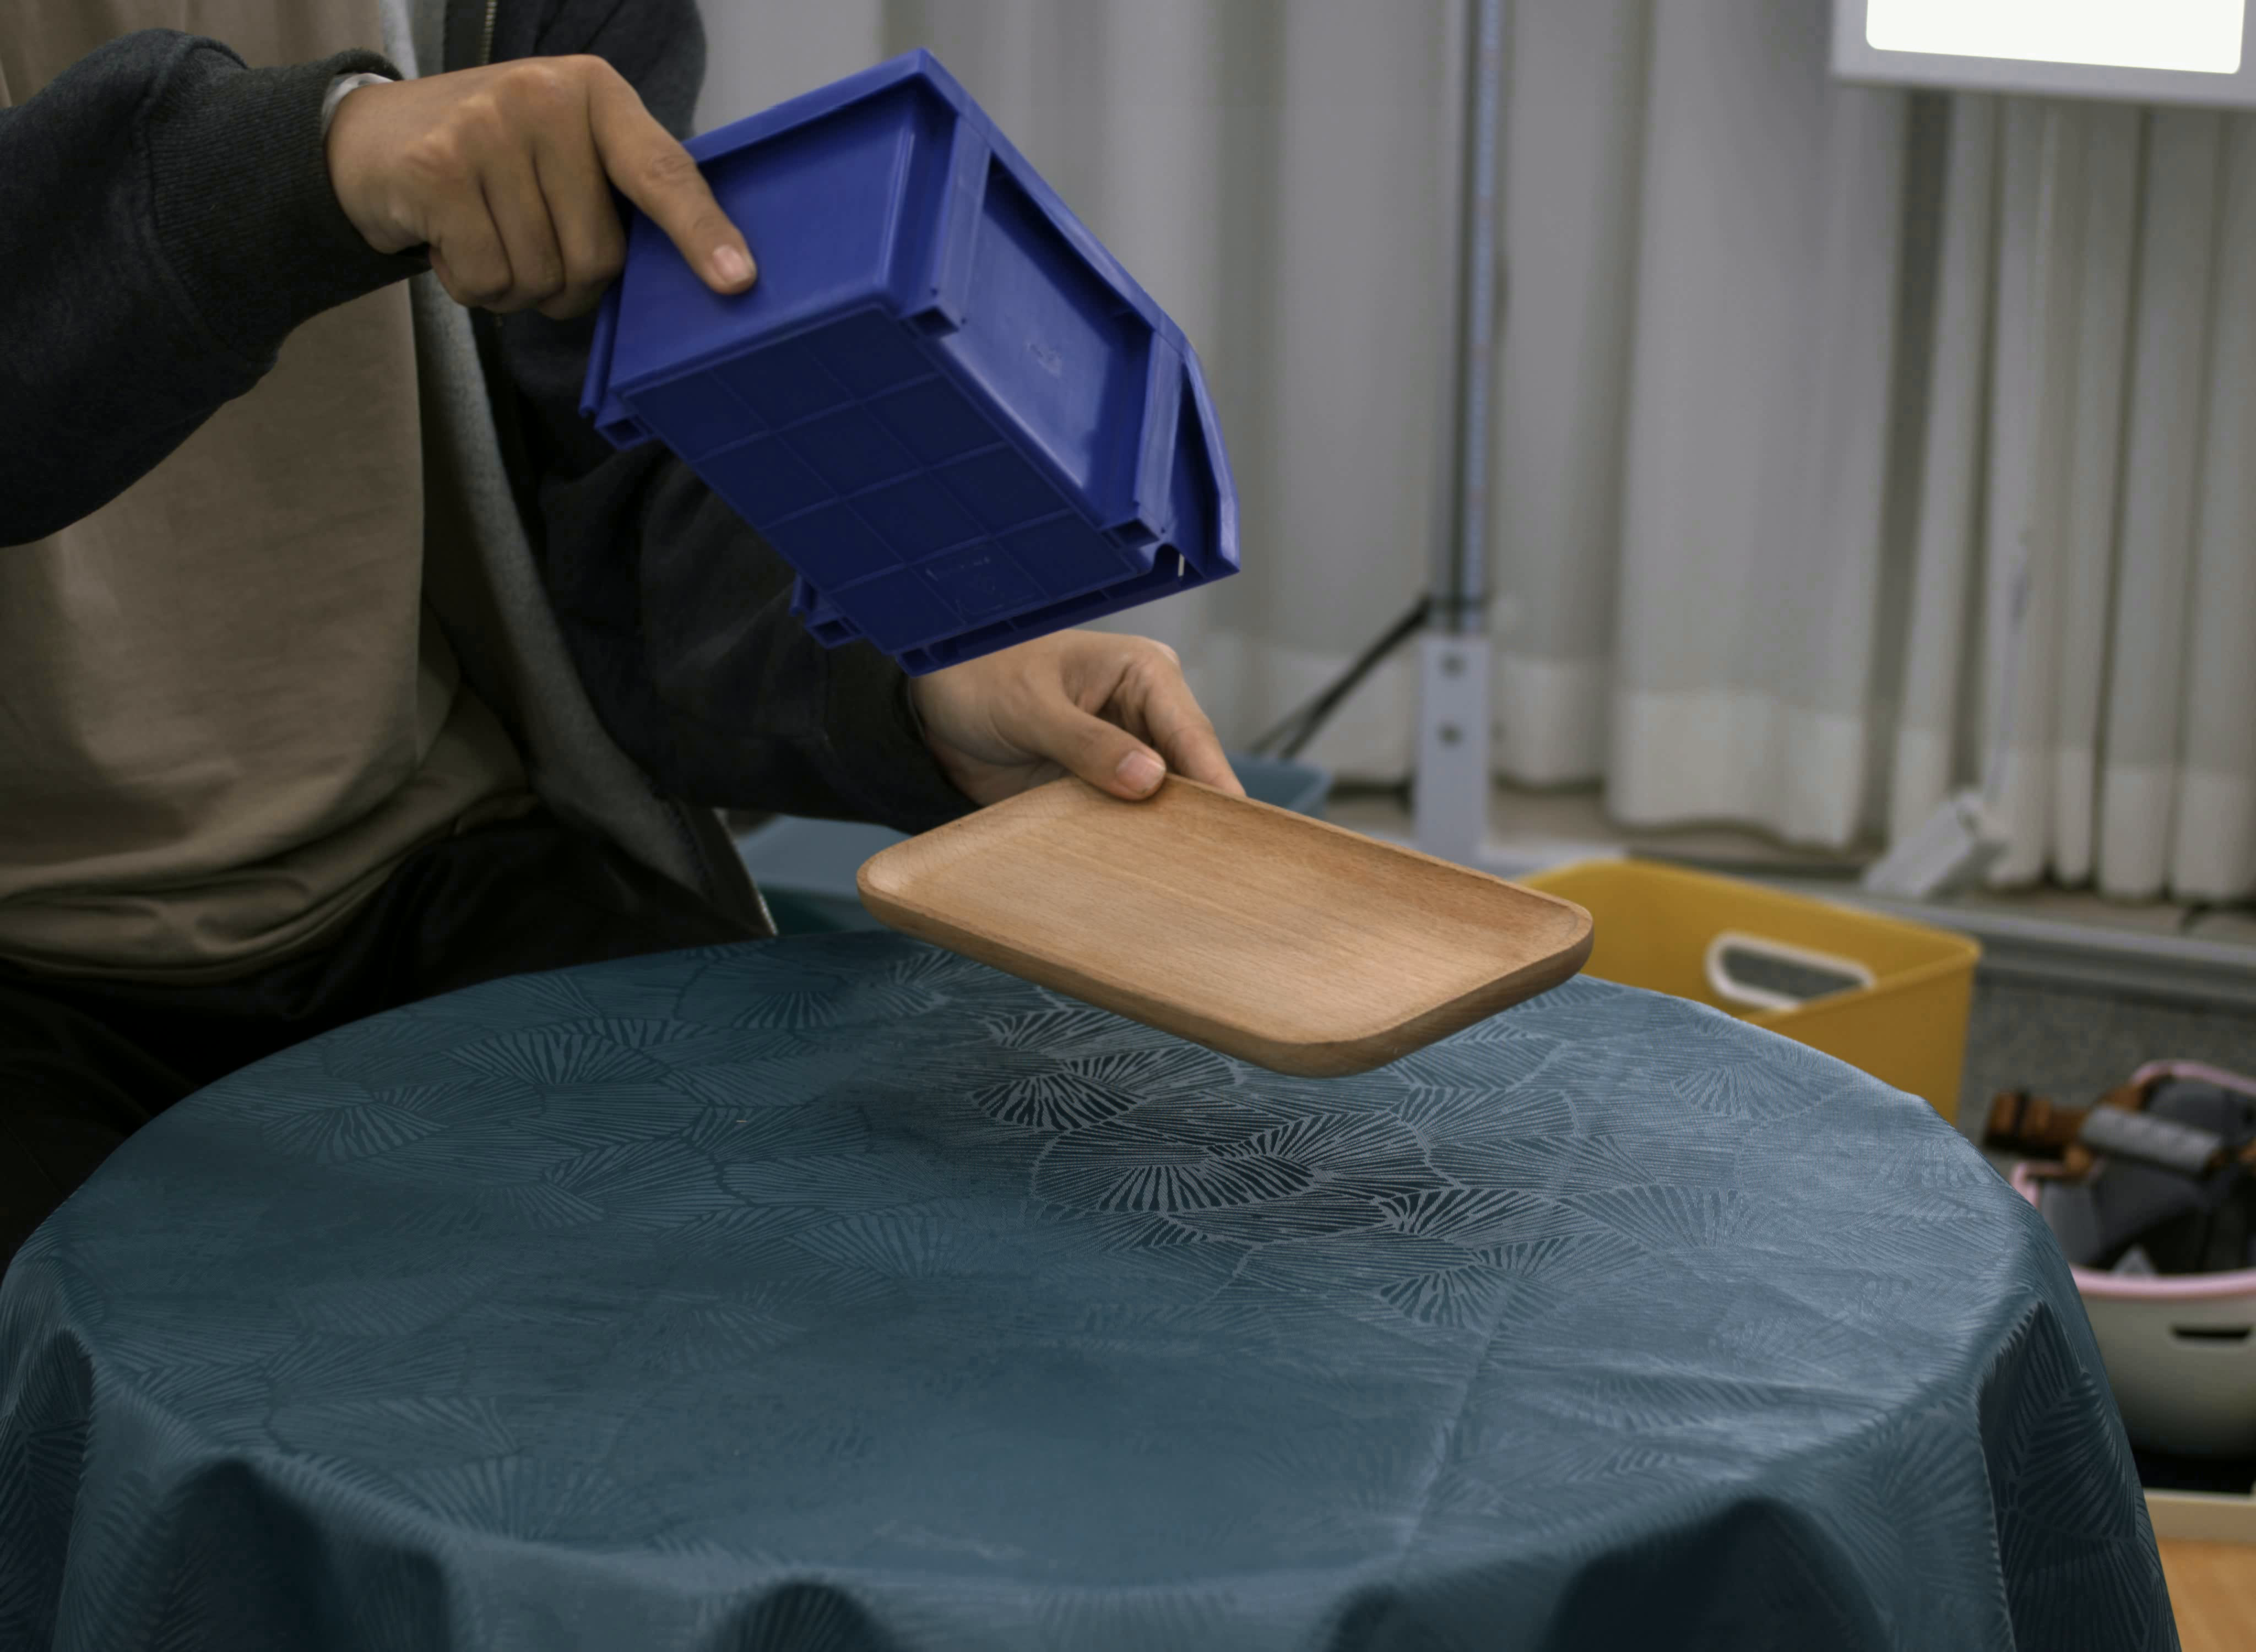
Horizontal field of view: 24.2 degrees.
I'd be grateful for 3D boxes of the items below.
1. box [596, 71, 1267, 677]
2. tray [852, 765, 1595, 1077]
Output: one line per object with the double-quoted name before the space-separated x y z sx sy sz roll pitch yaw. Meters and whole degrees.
"box" -0.059 -0.121 1.543 0.123 0.081 0.182 -18 -37 31
"tray" 0.027 0.028 1.654 0.131 0.023 0.247 -19 23 -35
